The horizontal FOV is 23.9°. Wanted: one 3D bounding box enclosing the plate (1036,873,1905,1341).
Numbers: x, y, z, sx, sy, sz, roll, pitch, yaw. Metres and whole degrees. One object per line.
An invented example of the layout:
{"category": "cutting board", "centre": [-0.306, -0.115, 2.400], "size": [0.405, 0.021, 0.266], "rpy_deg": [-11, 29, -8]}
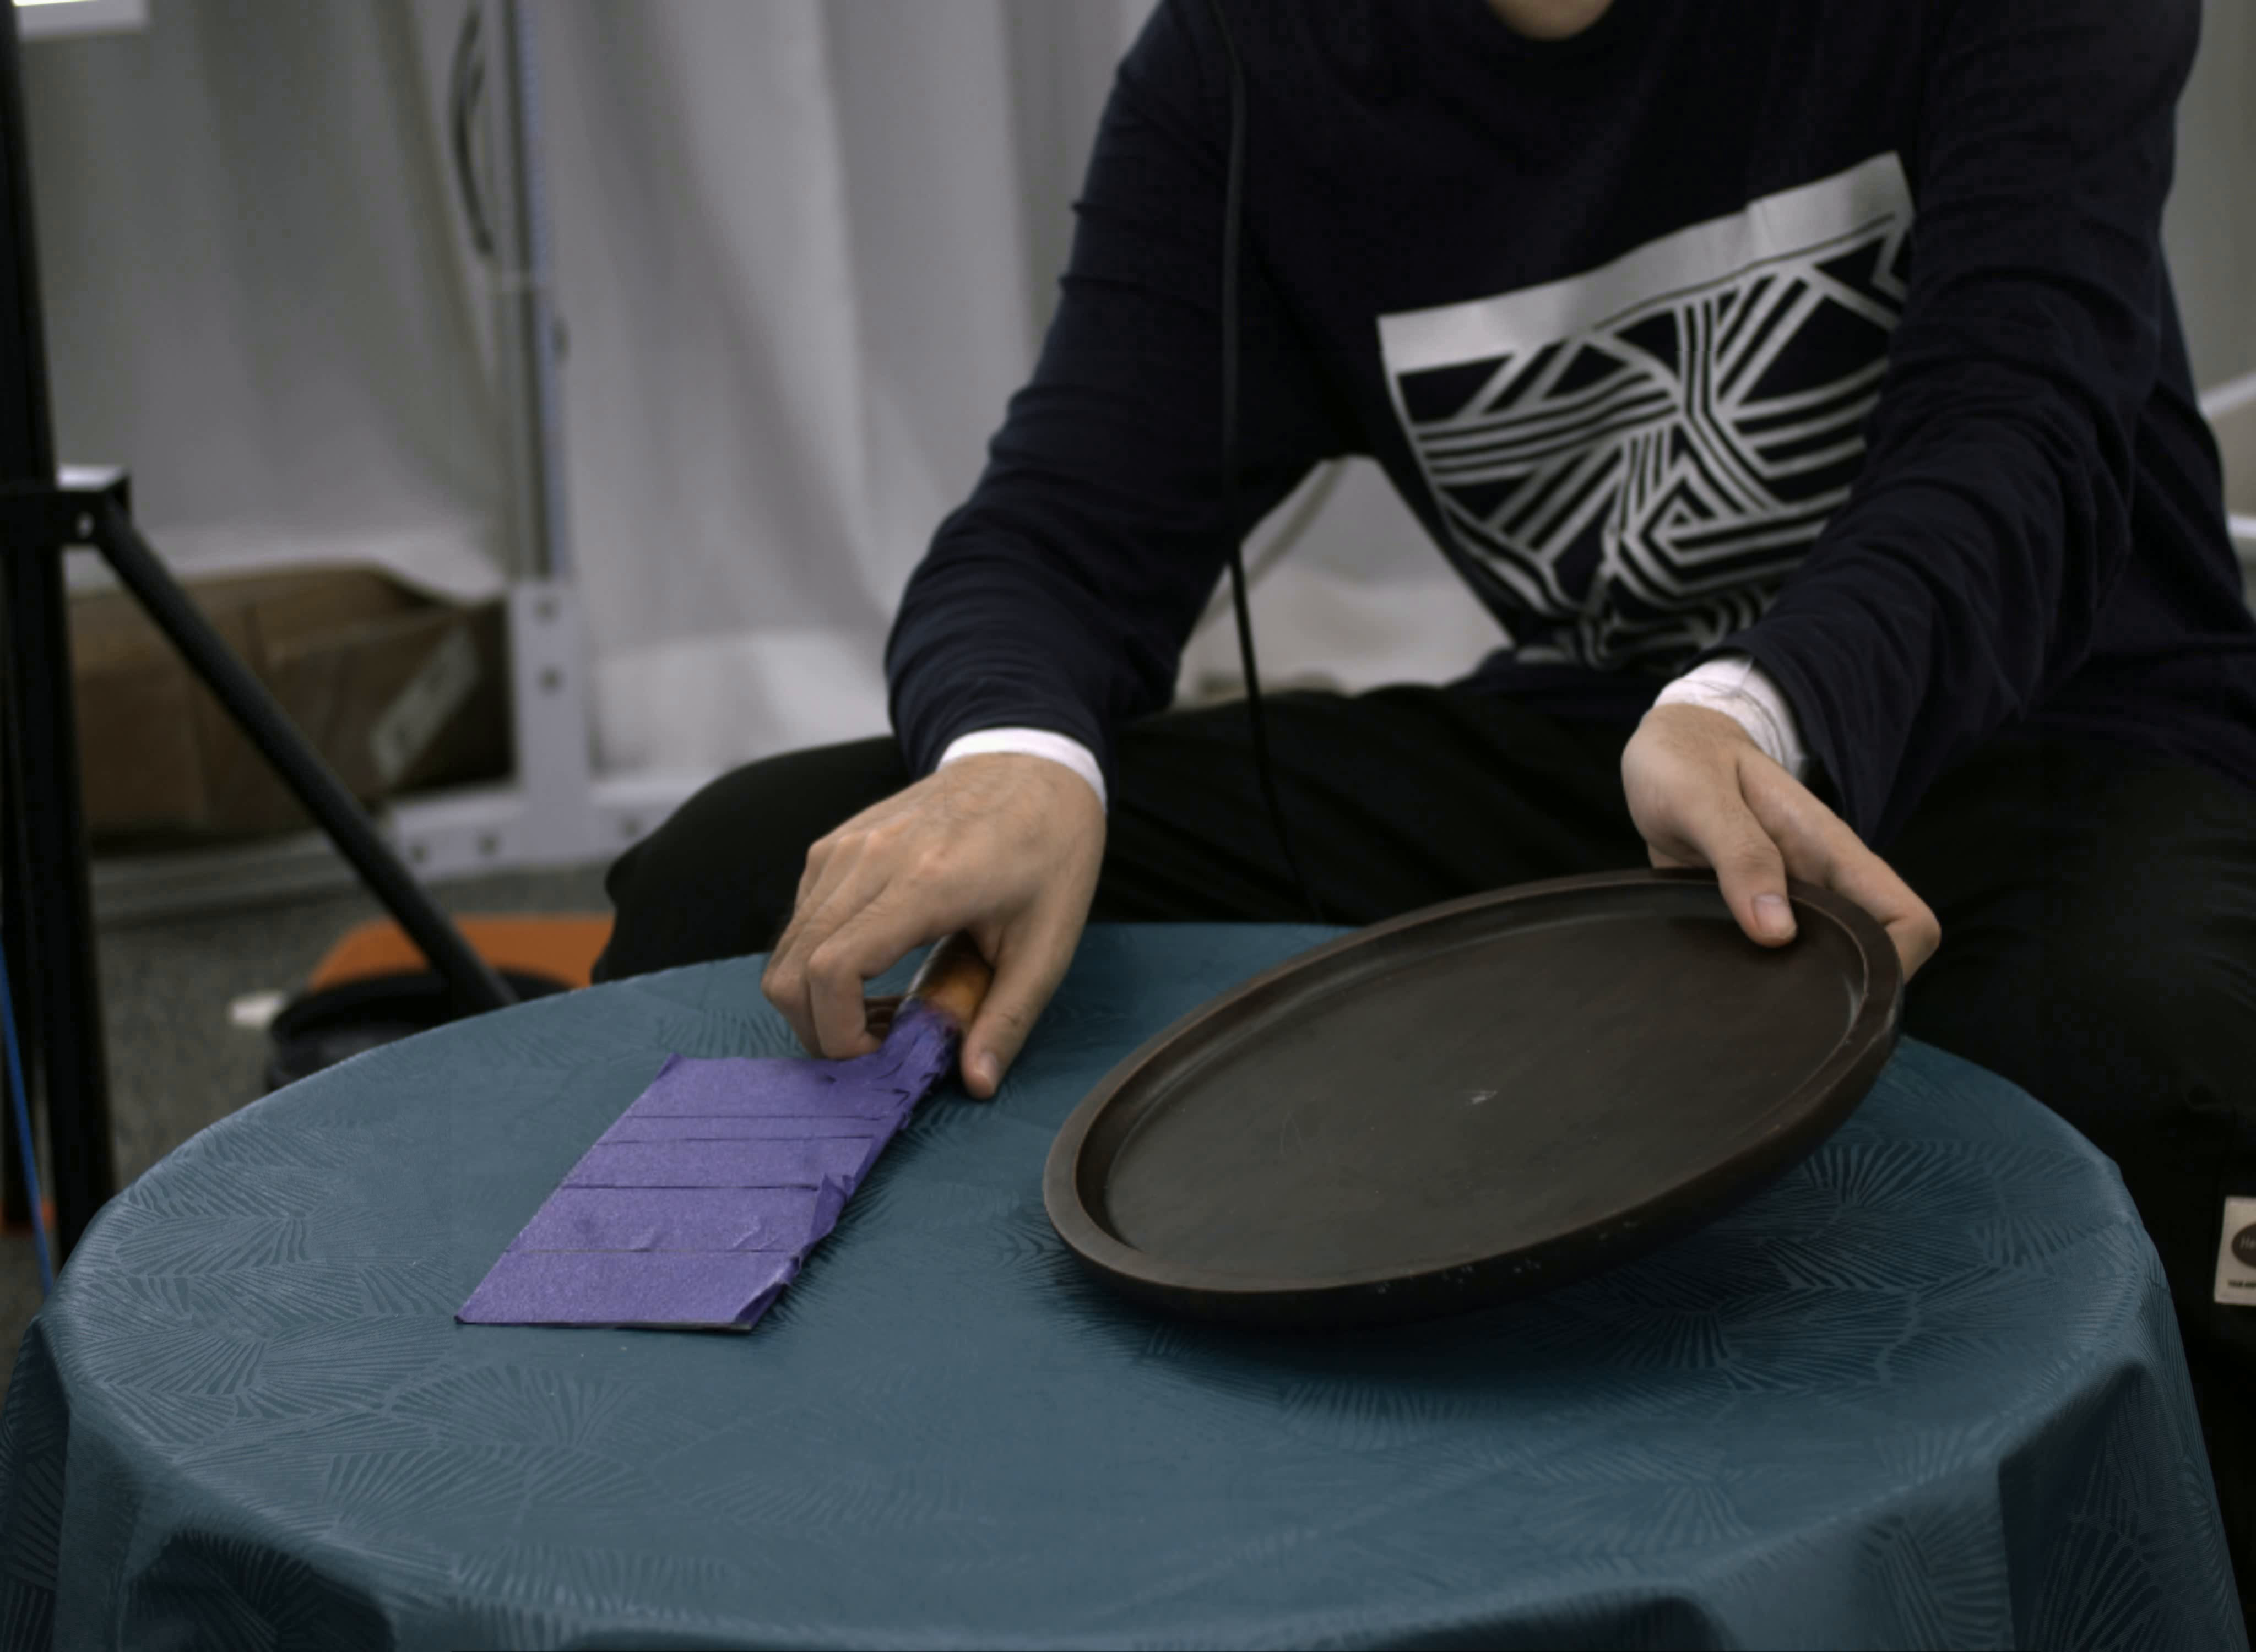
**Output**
{"category": "plate", "centre": [0.097, 0.077, 1.504], "size": [0.255, 0.029, 0.256], "rpy_deg": [-17, 22, 5]}

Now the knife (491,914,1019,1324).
{"category": "knife", "centre": [-0.110, 0.085, 1.611], "size": [0.104, 0.032, 0.313], "rpy_deg": [1, 16, 13]}
